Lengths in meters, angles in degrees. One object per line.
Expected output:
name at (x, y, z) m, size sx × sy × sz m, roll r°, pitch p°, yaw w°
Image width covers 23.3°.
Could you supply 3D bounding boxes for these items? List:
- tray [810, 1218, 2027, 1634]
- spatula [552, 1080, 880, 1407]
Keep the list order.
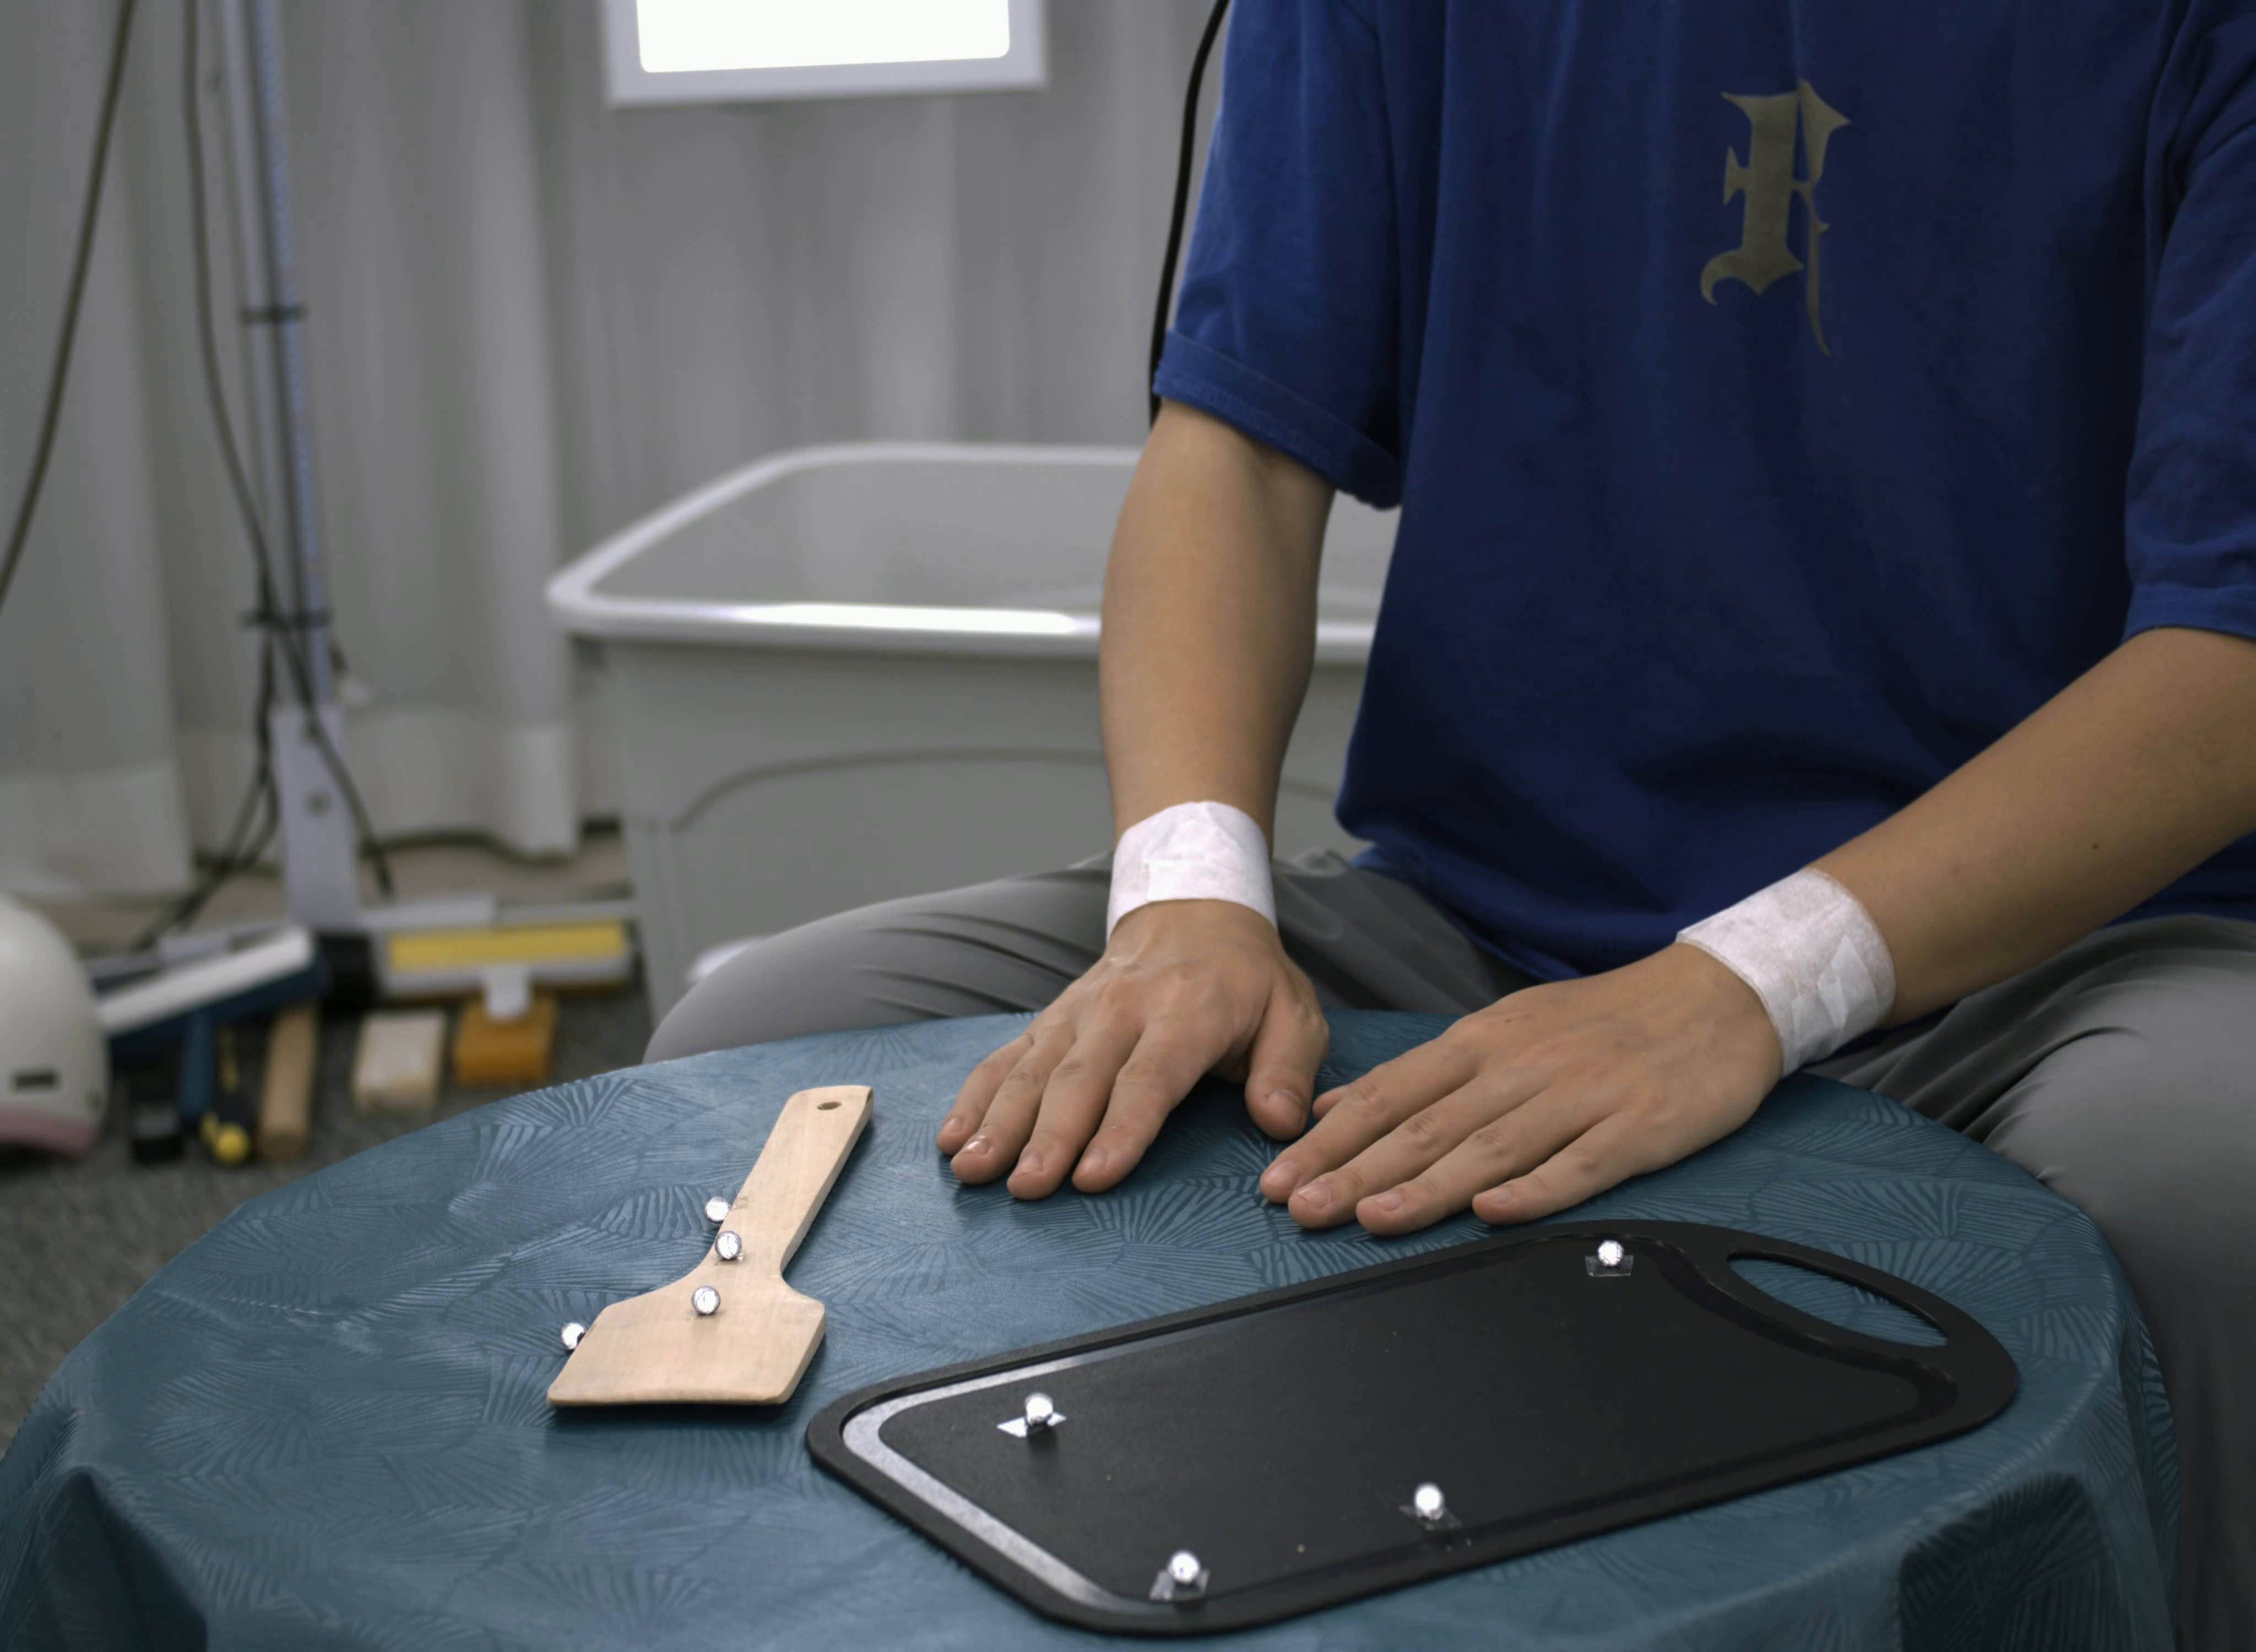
tray at (0.086, 0.158, 1.515) m, size 0.324 × 0.010 × 0.213 m, roll -10°, pitch 17°, yaw -27°
spatula at (-0.113, 0.126, 1.673) m, size 0.072 × 0.010 × 0.295 m, roll -2°, pitch 15°, yaw 8°
